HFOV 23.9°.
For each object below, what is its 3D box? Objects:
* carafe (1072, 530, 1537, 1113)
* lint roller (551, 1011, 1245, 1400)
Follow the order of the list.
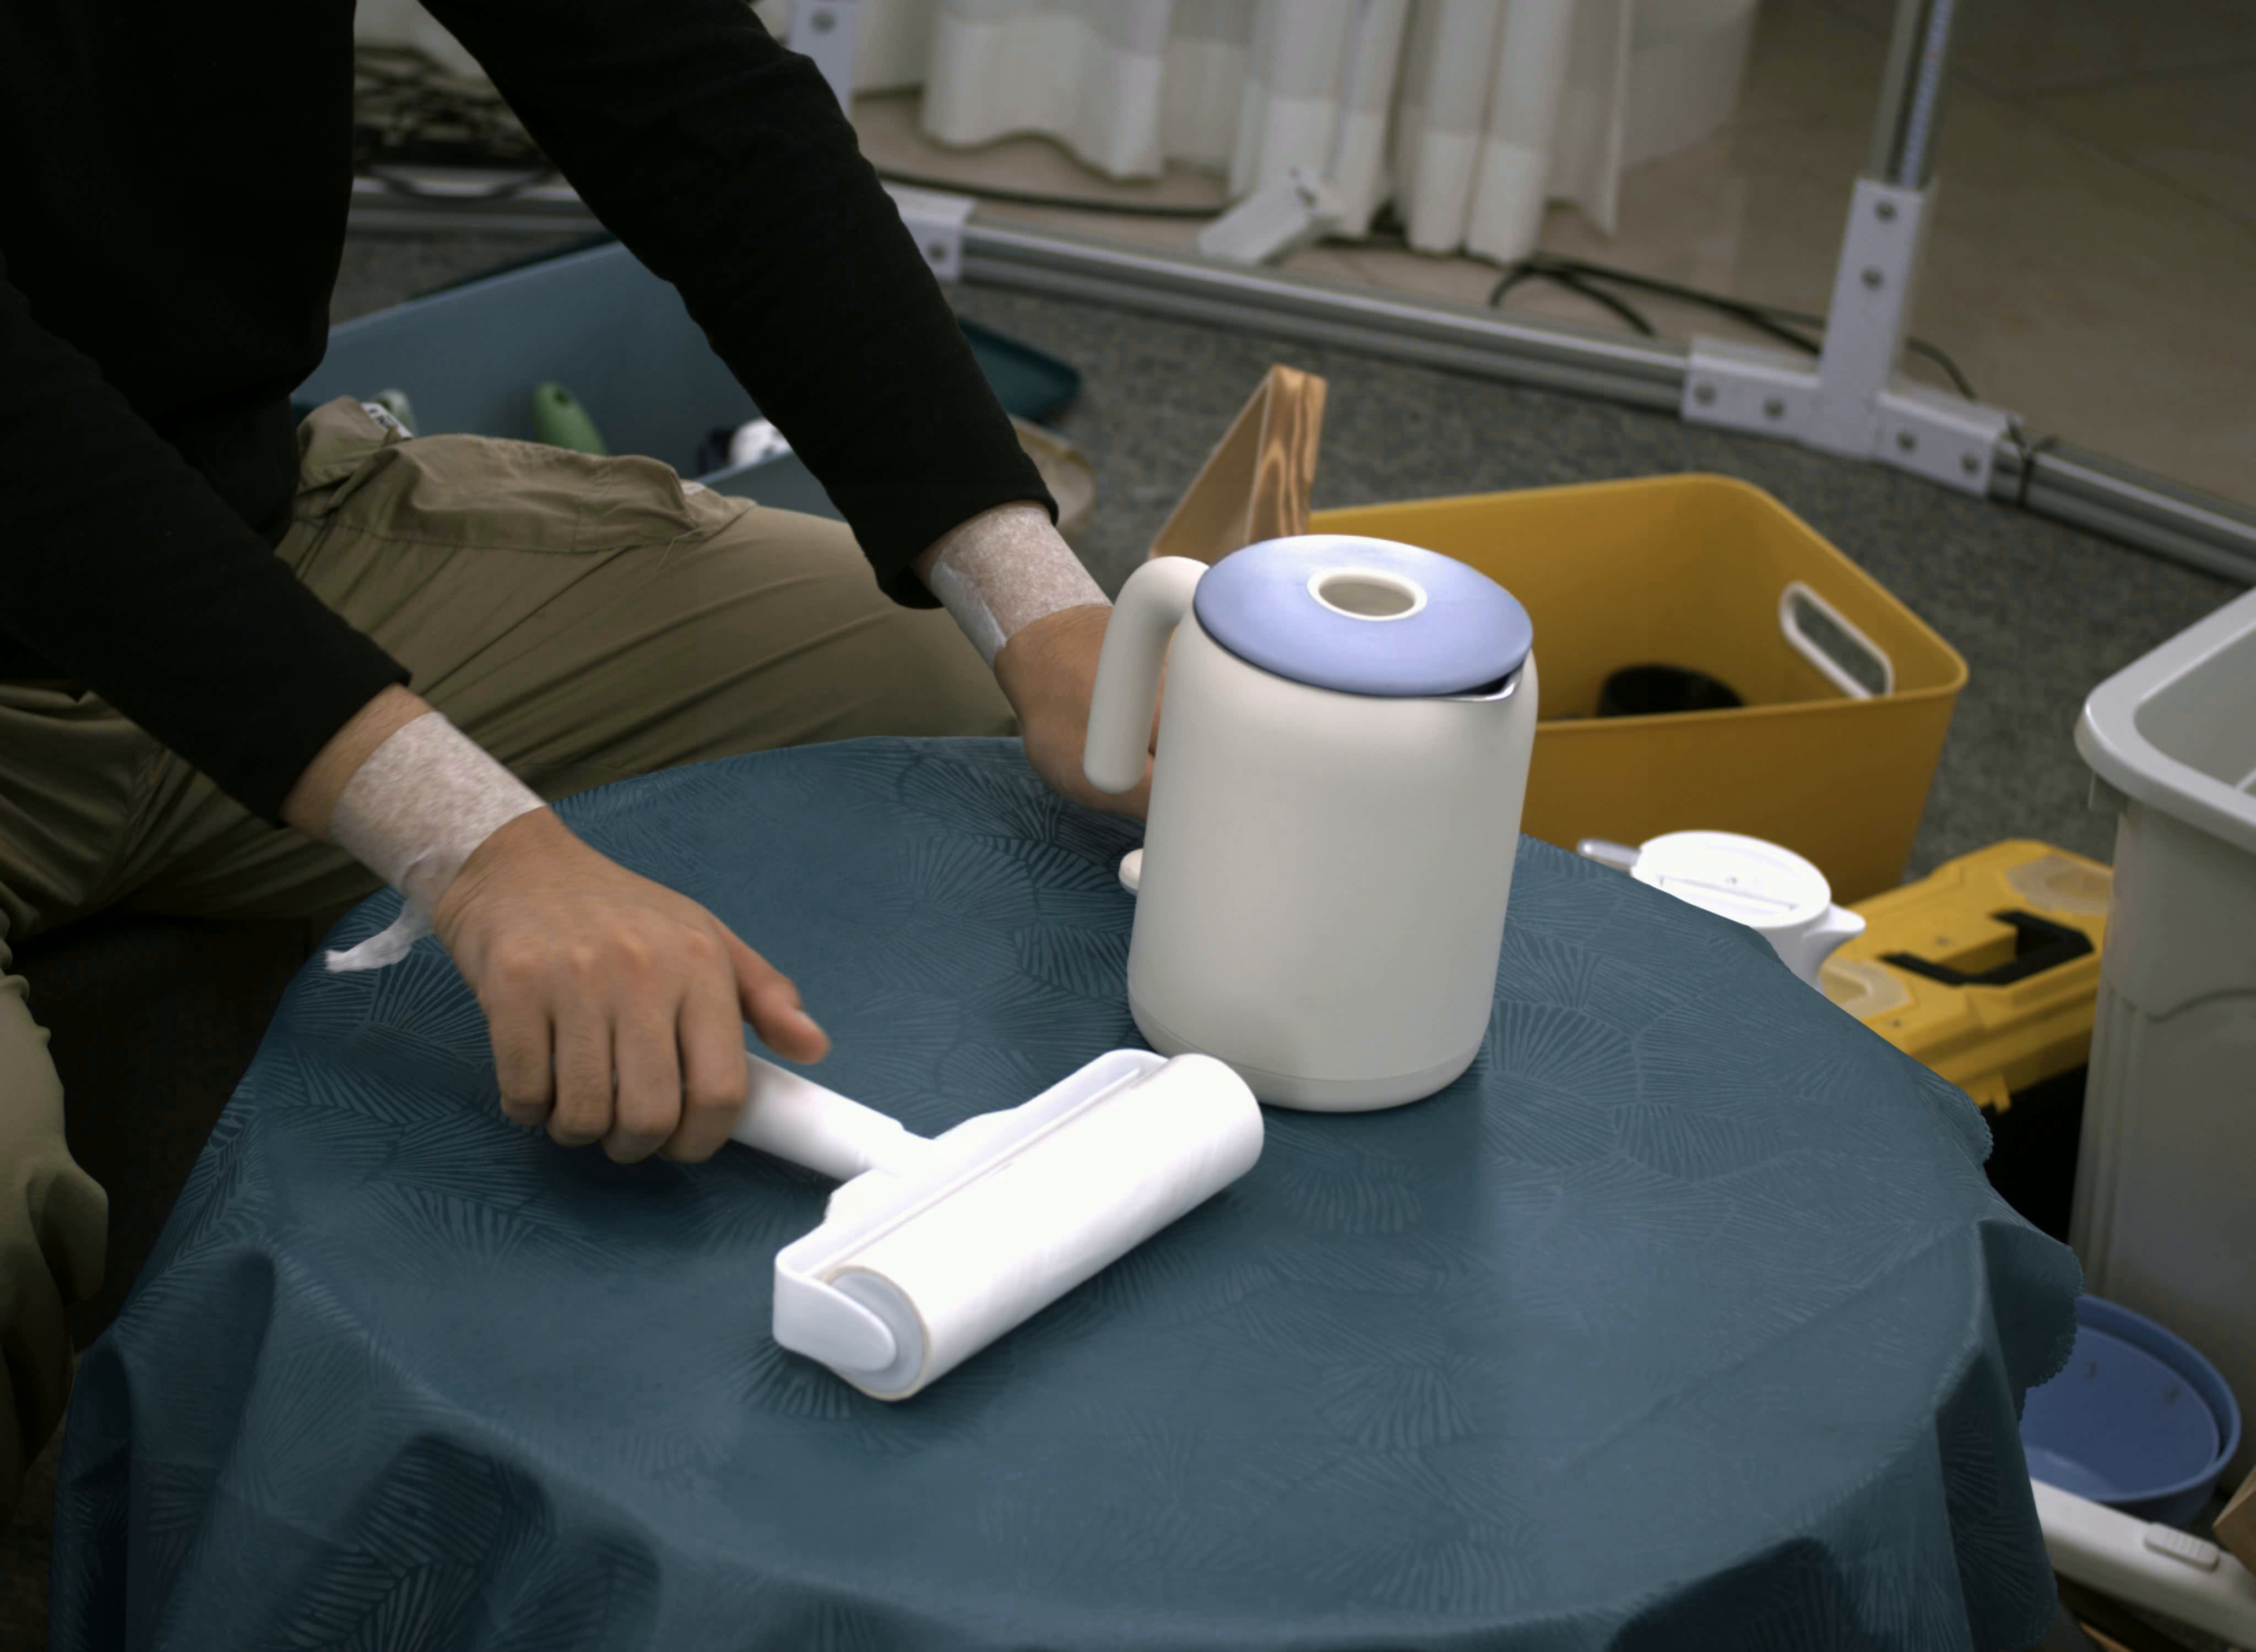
[{"bbox_3d":[0.055,-0.011,1.890,0.192,0.182,0.131,26,32,37],"label":"carafe"},{"bbox_3d":[-0.103,0.099,1.779,0.227,0.048,0.202,21,32,28],"label":"lint roller"}]
